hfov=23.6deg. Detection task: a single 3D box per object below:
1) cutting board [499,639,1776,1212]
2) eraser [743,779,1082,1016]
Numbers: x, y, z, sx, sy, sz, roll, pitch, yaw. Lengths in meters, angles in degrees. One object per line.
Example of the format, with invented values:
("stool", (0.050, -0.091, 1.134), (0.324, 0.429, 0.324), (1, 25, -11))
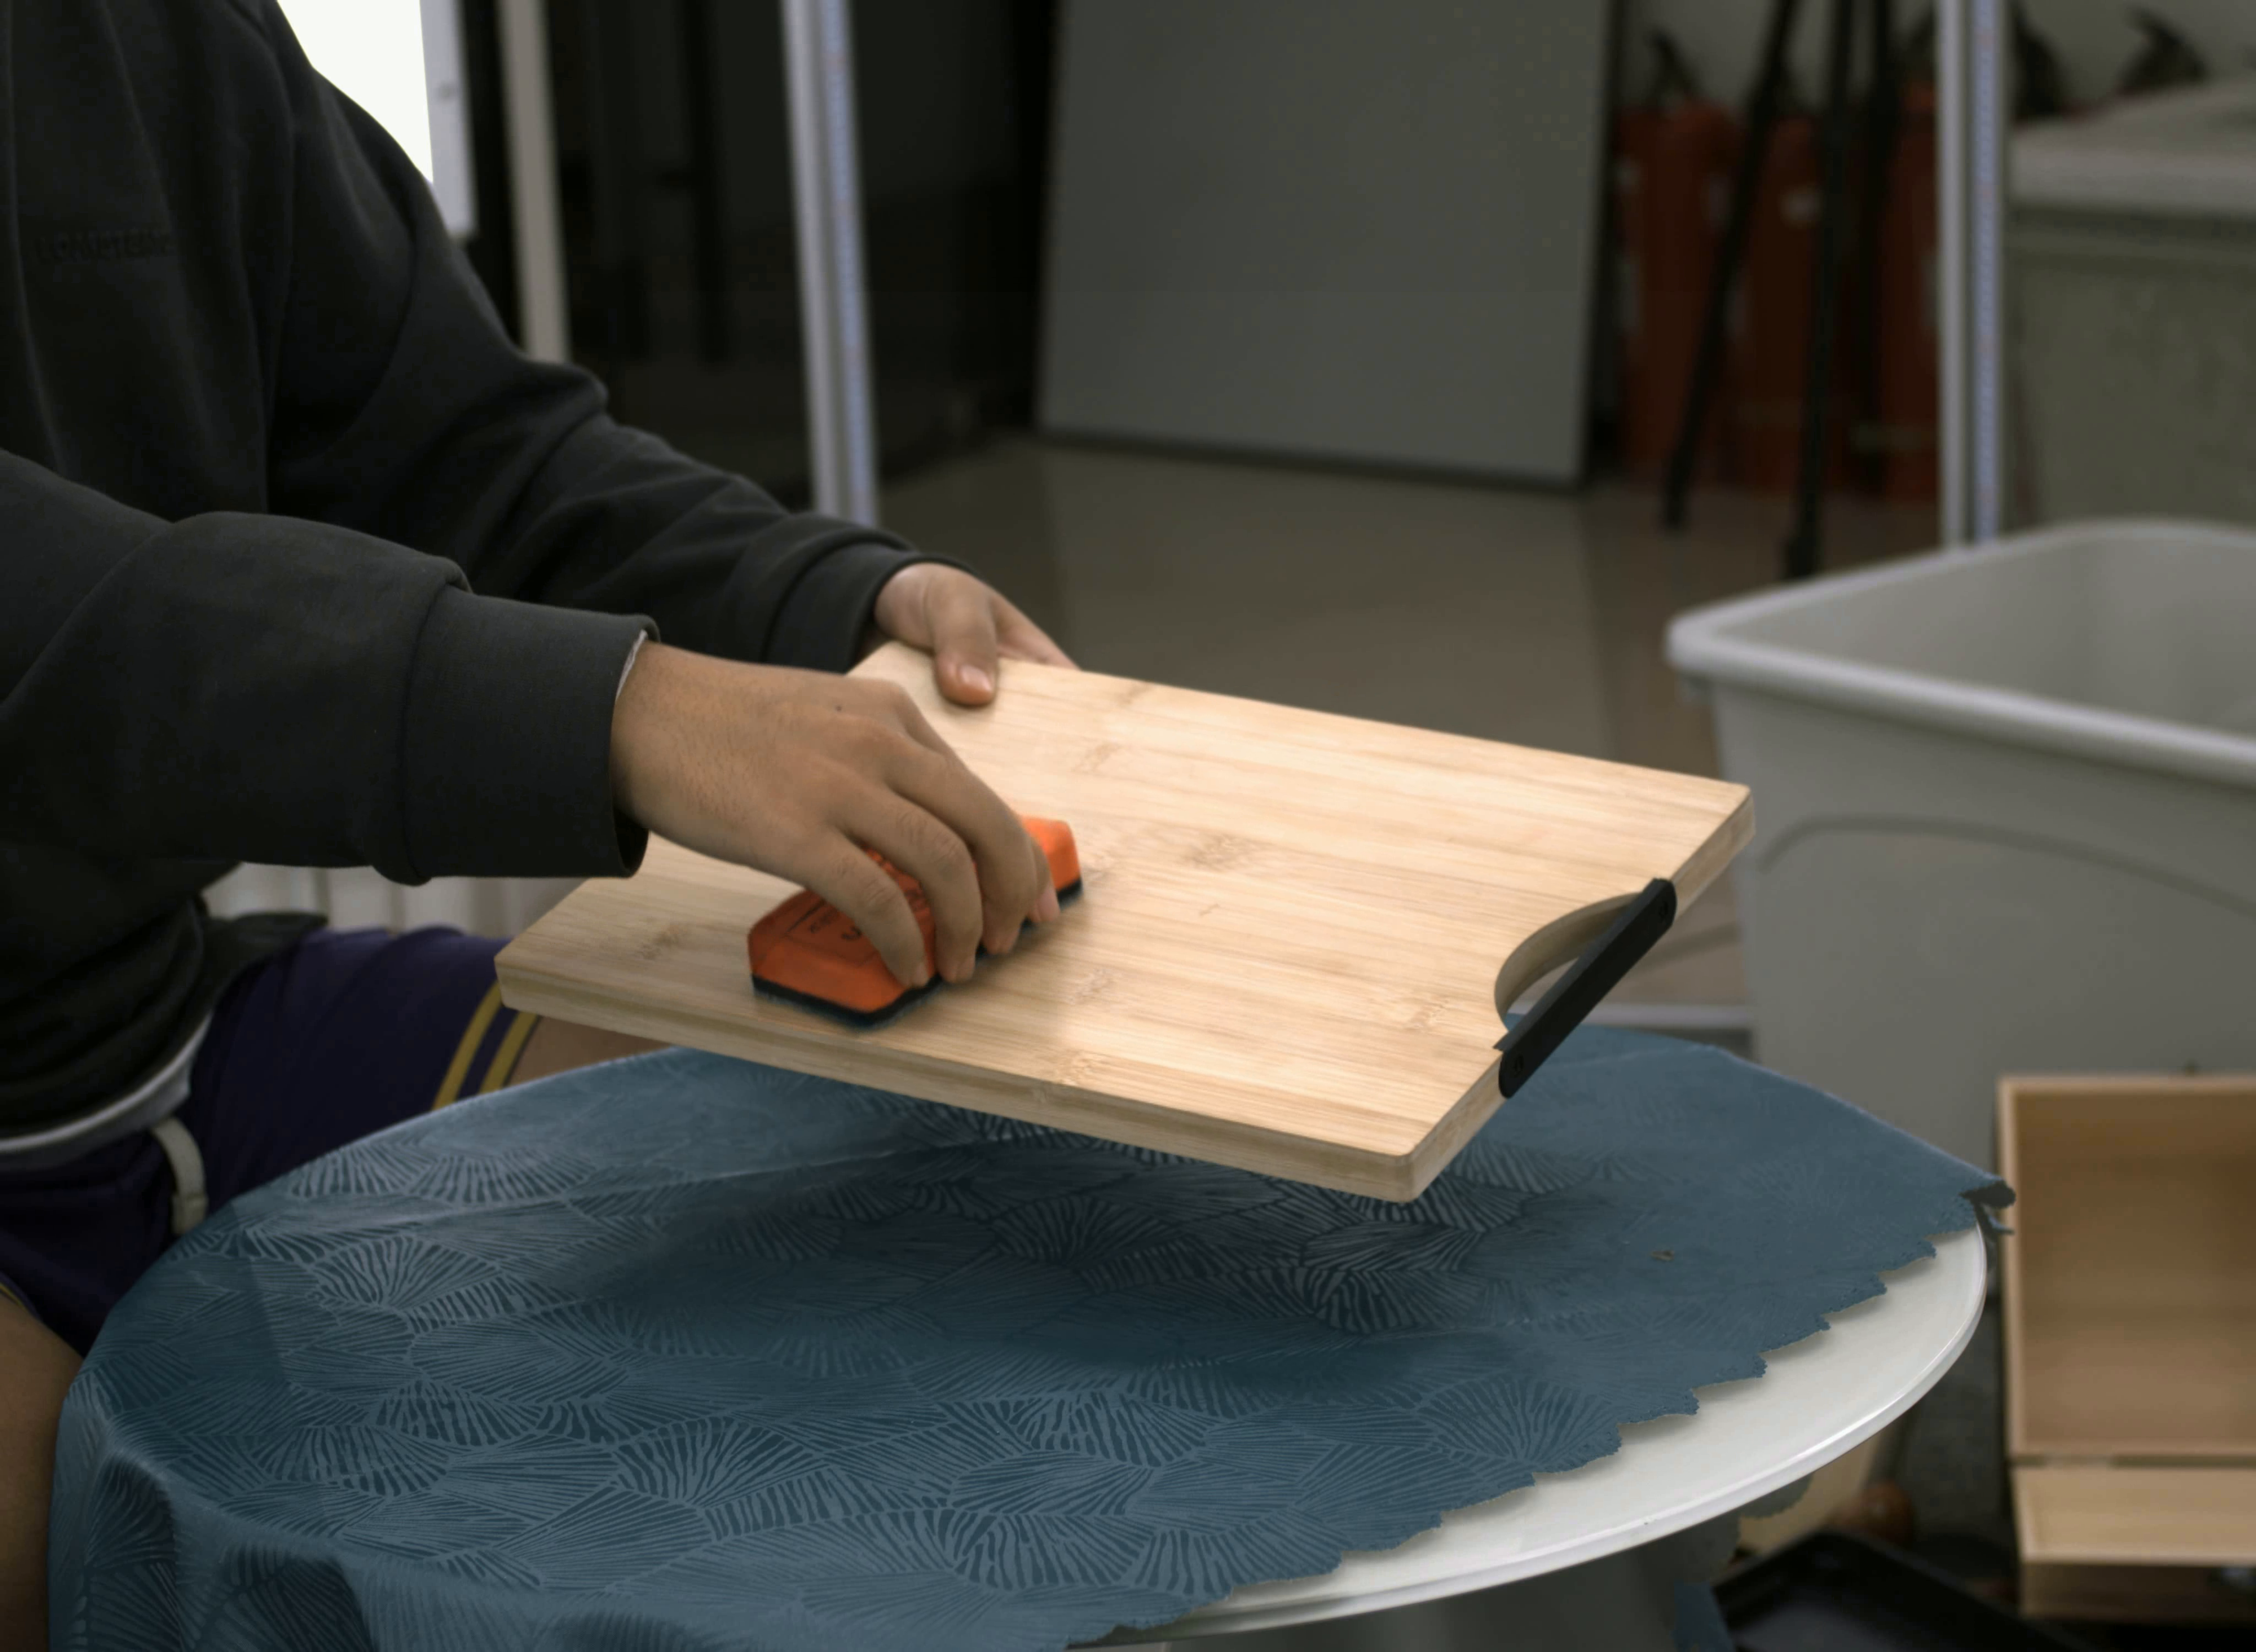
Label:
("cutting board", (0.004, 0.023, 1.730), (0.350, 0.024, 0.248), (9, 33, 31))
("eraser", (-0.068, 0.022, 1.708), (0.059, 0.023, 0.106), (17, 36, 39))
